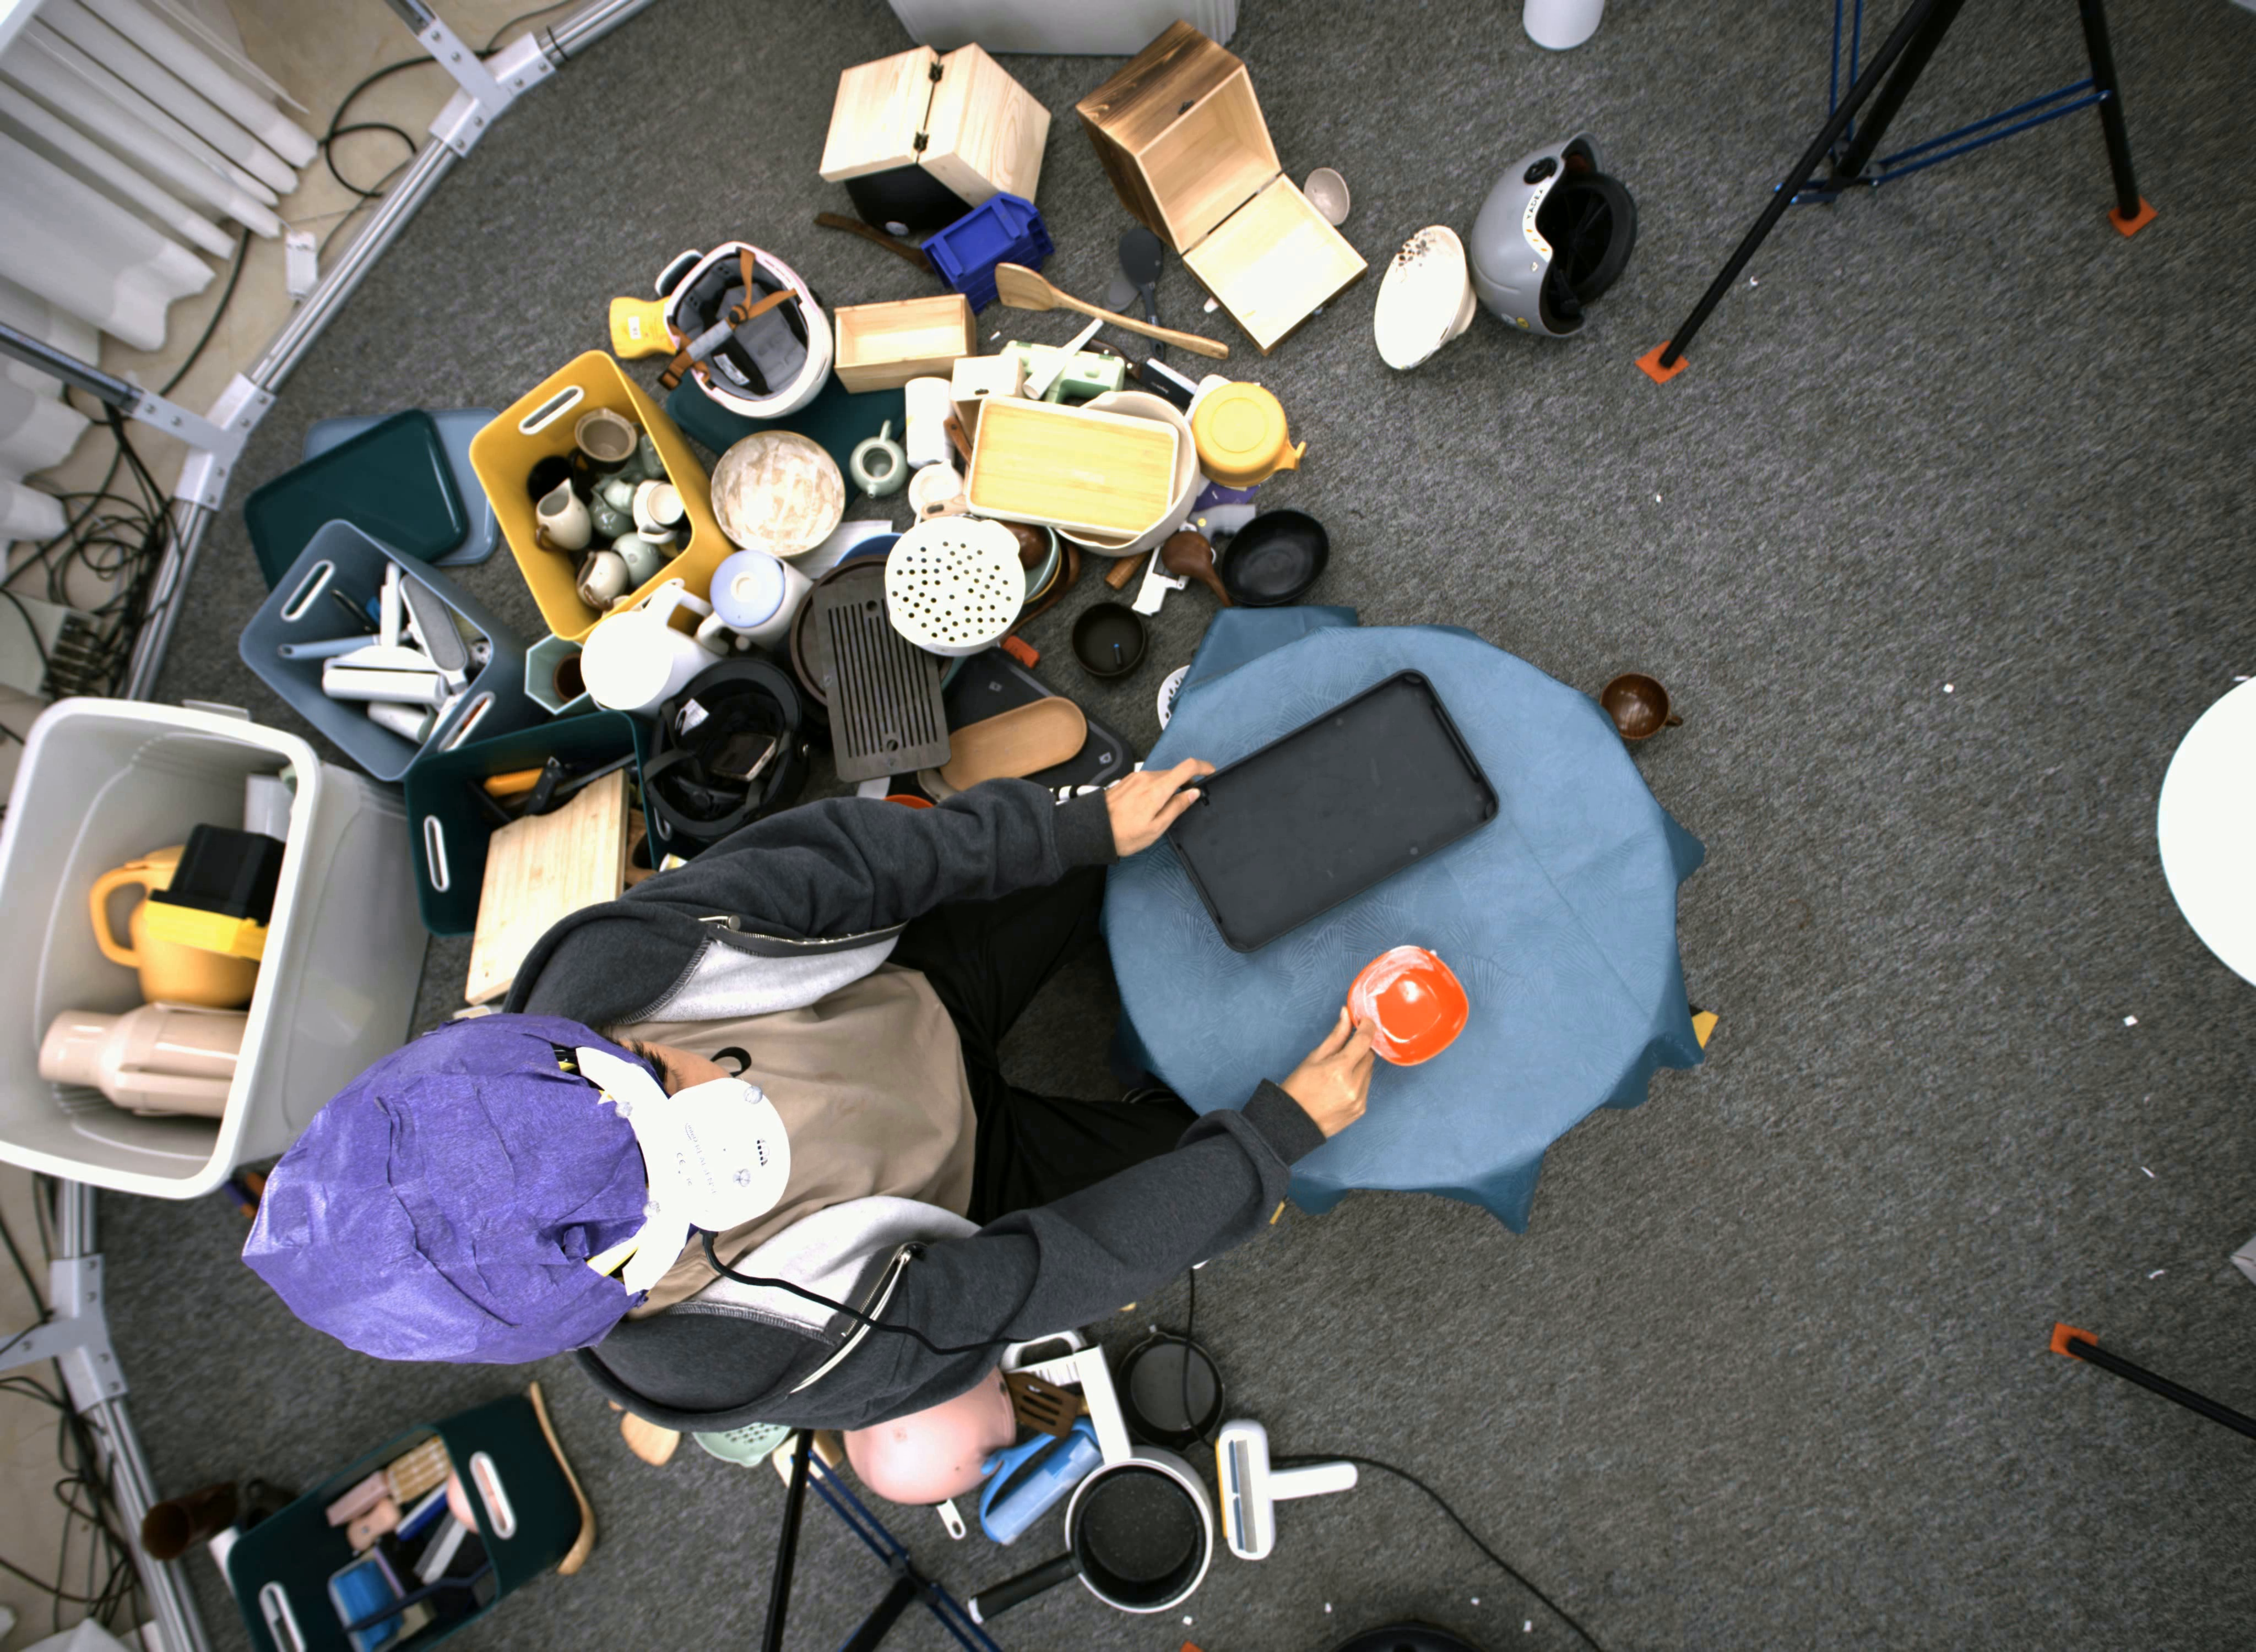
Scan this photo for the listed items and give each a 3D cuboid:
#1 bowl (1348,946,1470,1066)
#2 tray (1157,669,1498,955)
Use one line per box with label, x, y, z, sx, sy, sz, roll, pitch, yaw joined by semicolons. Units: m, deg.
bowl;0.280;0.180;1.383;0.119;0.051;0.118;-1;81;7
tray;0.205;-0.015;1.433;0.319;0.037;0.183;-29;83;3
